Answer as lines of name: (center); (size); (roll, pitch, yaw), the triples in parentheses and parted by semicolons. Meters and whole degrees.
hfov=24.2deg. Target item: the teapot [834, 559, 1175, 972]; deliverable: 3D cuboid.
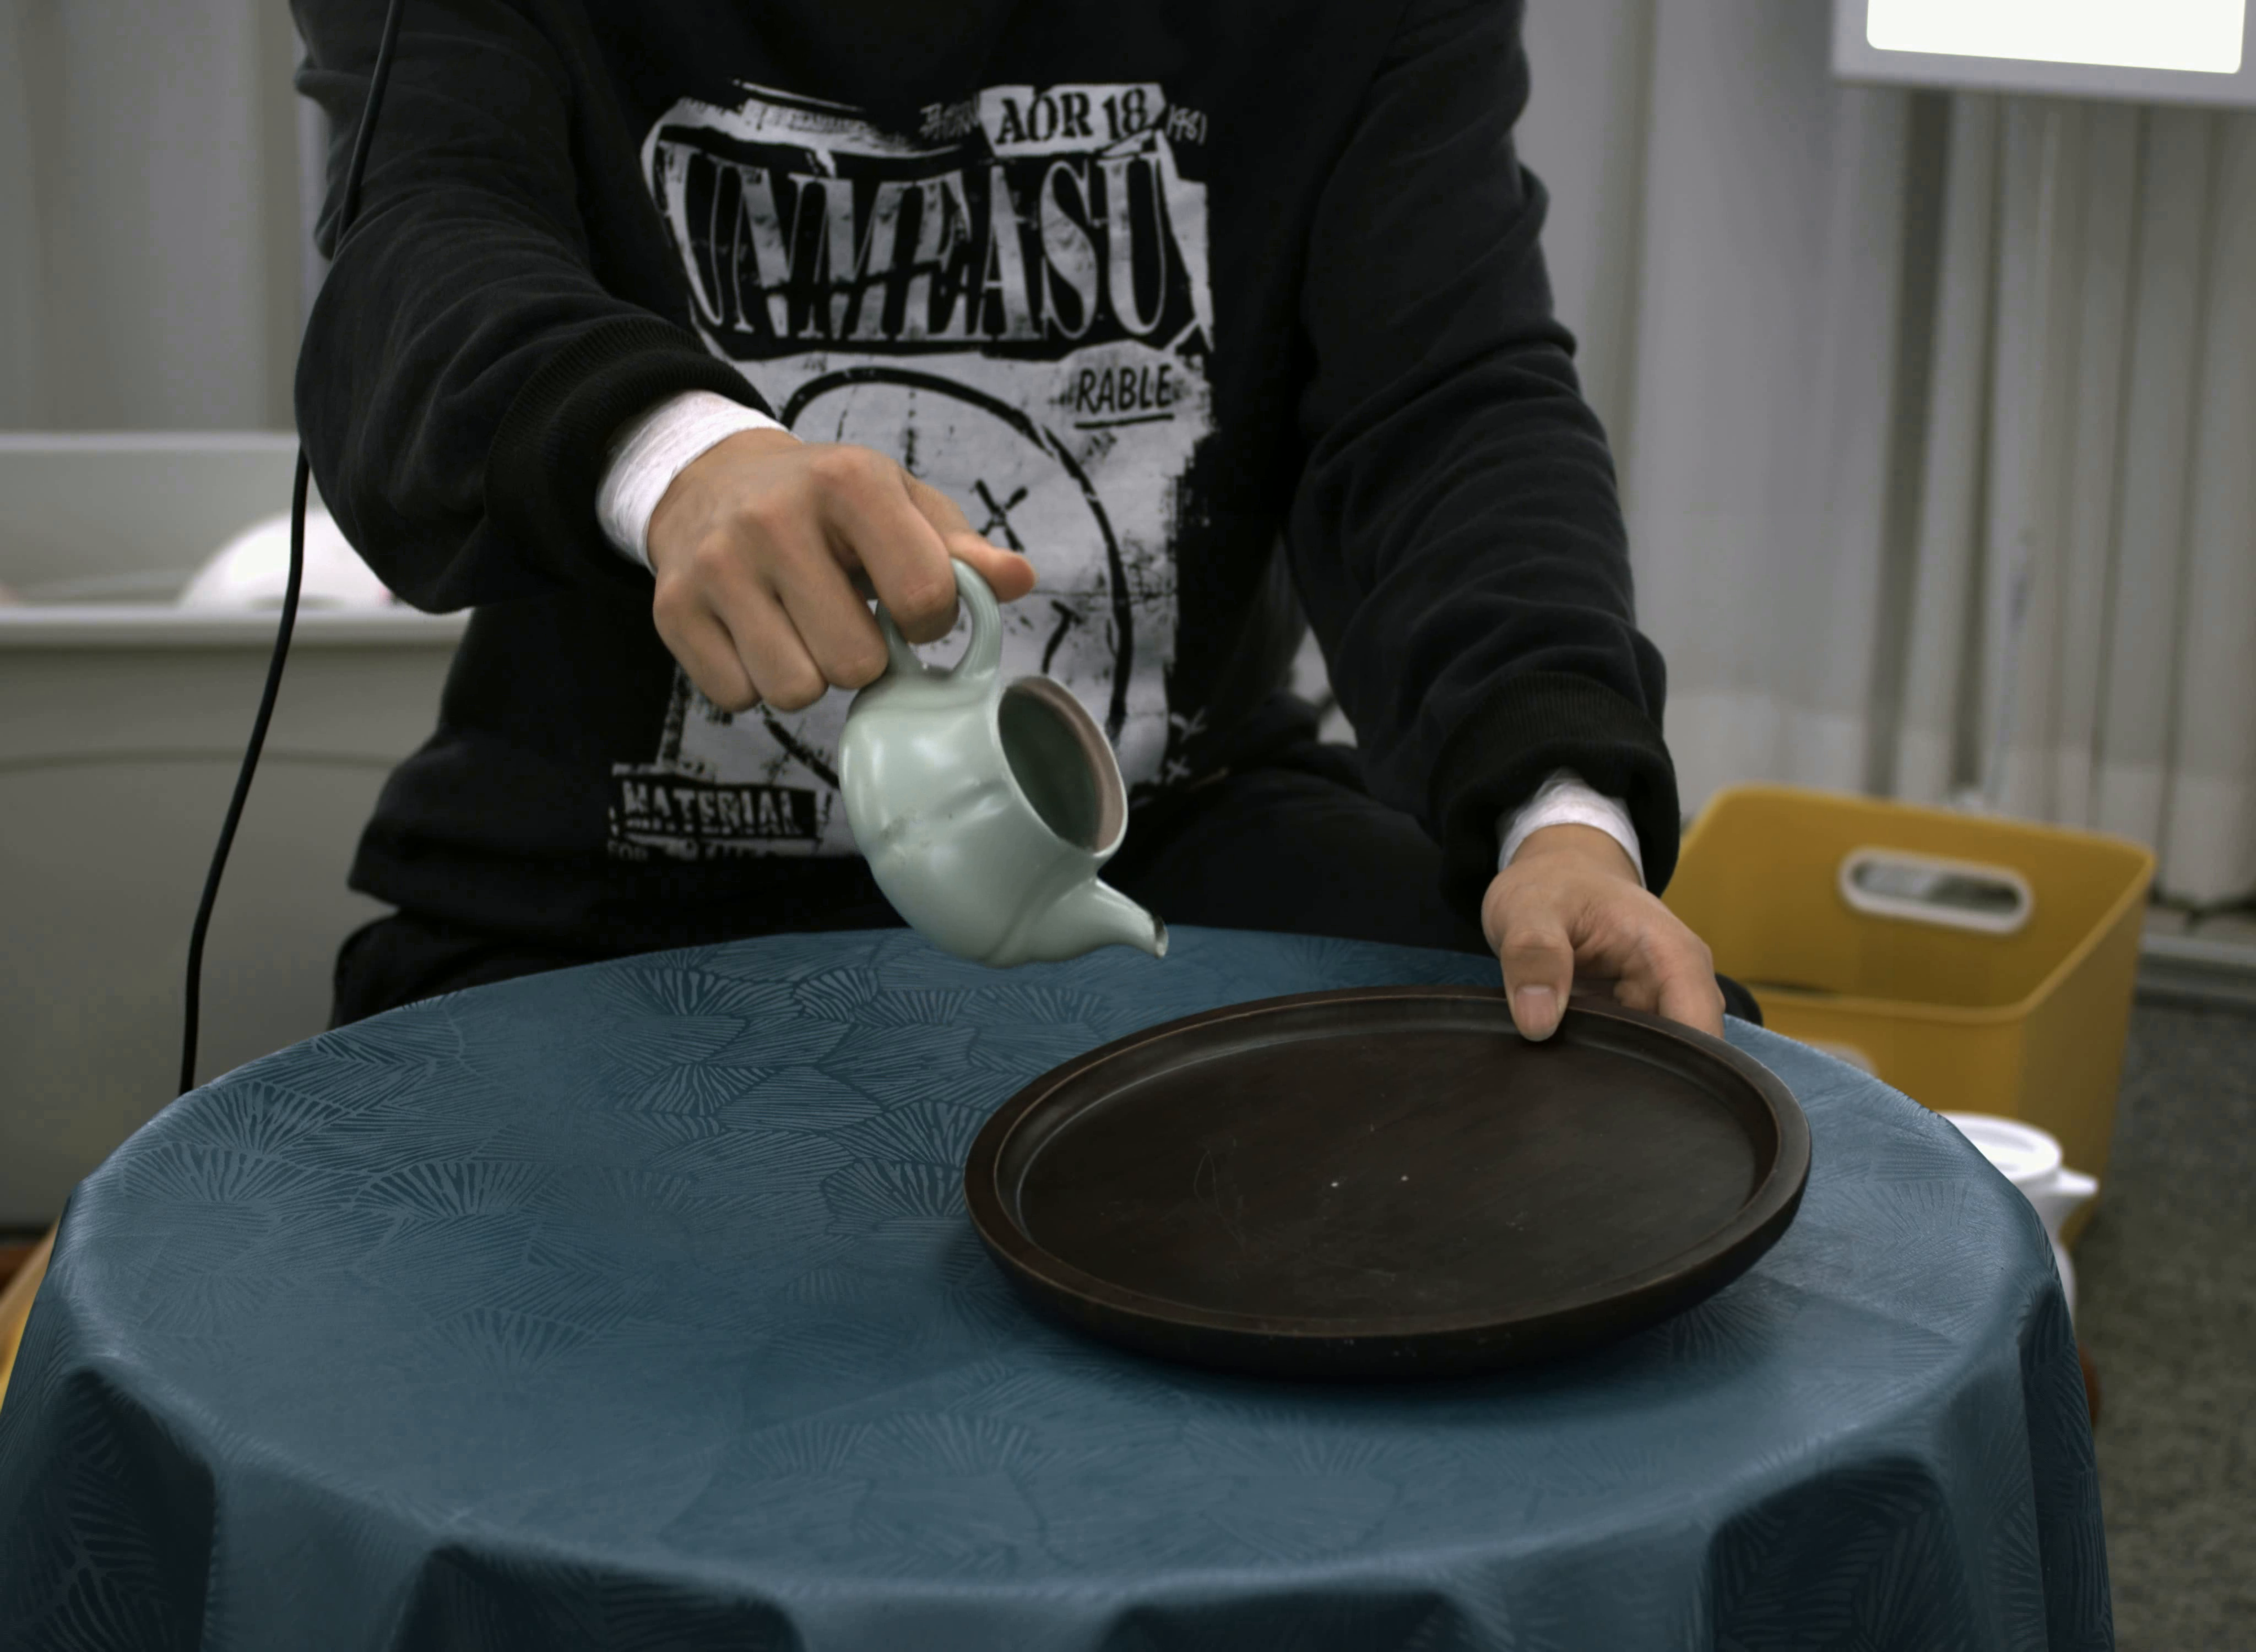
teapot: (-0.042, -0.012, 1.542); (0.061, 0.137, 0.096); (-27, 4, 29)

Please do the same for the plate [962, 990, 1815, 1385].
plate: (0.077, 0.104, 1.563); (0.254, 0.029, 0.253); (-4, 22, 2)
